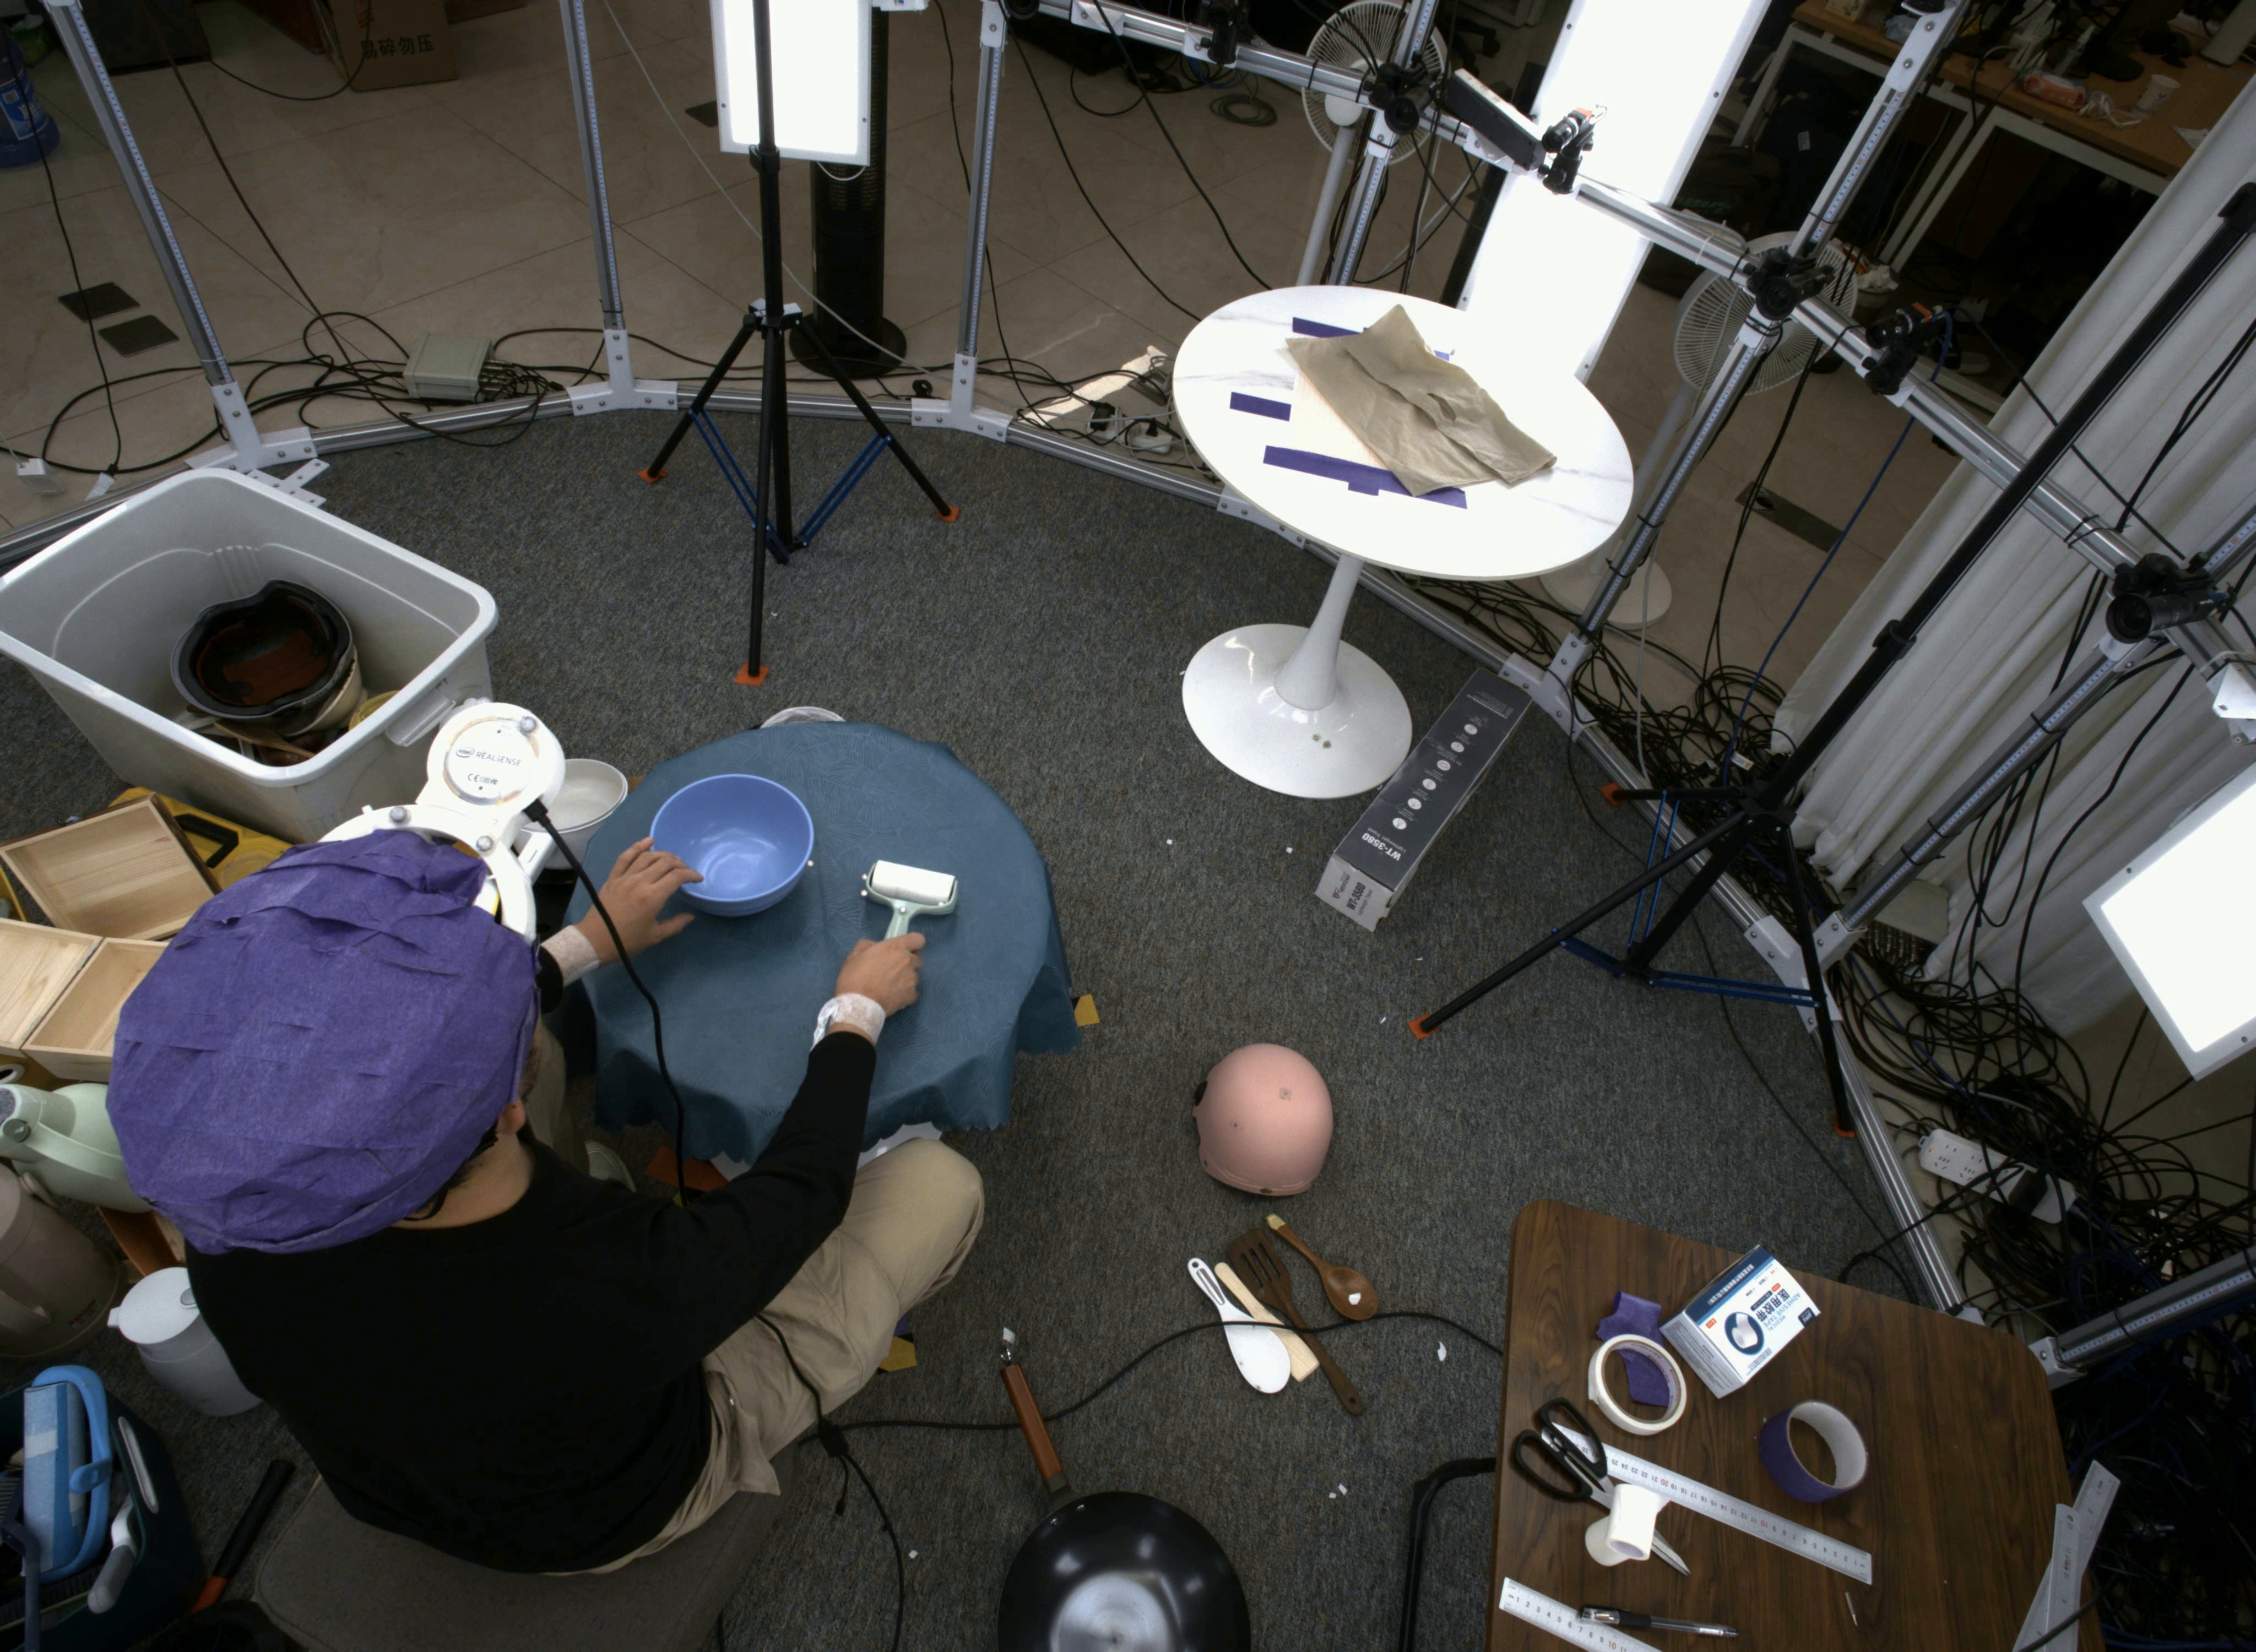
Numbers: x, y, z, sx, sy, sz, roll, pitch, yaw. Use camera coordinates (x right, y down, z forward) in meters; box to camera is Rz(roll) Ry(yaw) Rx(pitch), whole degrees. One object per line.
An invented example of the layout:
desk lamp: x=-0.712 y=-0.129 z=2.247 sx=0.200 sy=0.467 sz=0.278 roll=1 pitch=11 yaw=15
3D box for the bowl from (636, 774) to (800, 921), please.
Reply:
bowl: x=-0.507 y=0.040 z=1.605 sx=0.196 sy=0.097 sz=0.193 roll=8 pitch=52 yaw=-9

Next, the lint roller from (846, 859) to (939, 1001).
lint roller: x=-0.305 y=0.125 z=1.617 sx=0.116 sy=0.049 sz=0.194 roll=12 pitch=46 yaw=-7
